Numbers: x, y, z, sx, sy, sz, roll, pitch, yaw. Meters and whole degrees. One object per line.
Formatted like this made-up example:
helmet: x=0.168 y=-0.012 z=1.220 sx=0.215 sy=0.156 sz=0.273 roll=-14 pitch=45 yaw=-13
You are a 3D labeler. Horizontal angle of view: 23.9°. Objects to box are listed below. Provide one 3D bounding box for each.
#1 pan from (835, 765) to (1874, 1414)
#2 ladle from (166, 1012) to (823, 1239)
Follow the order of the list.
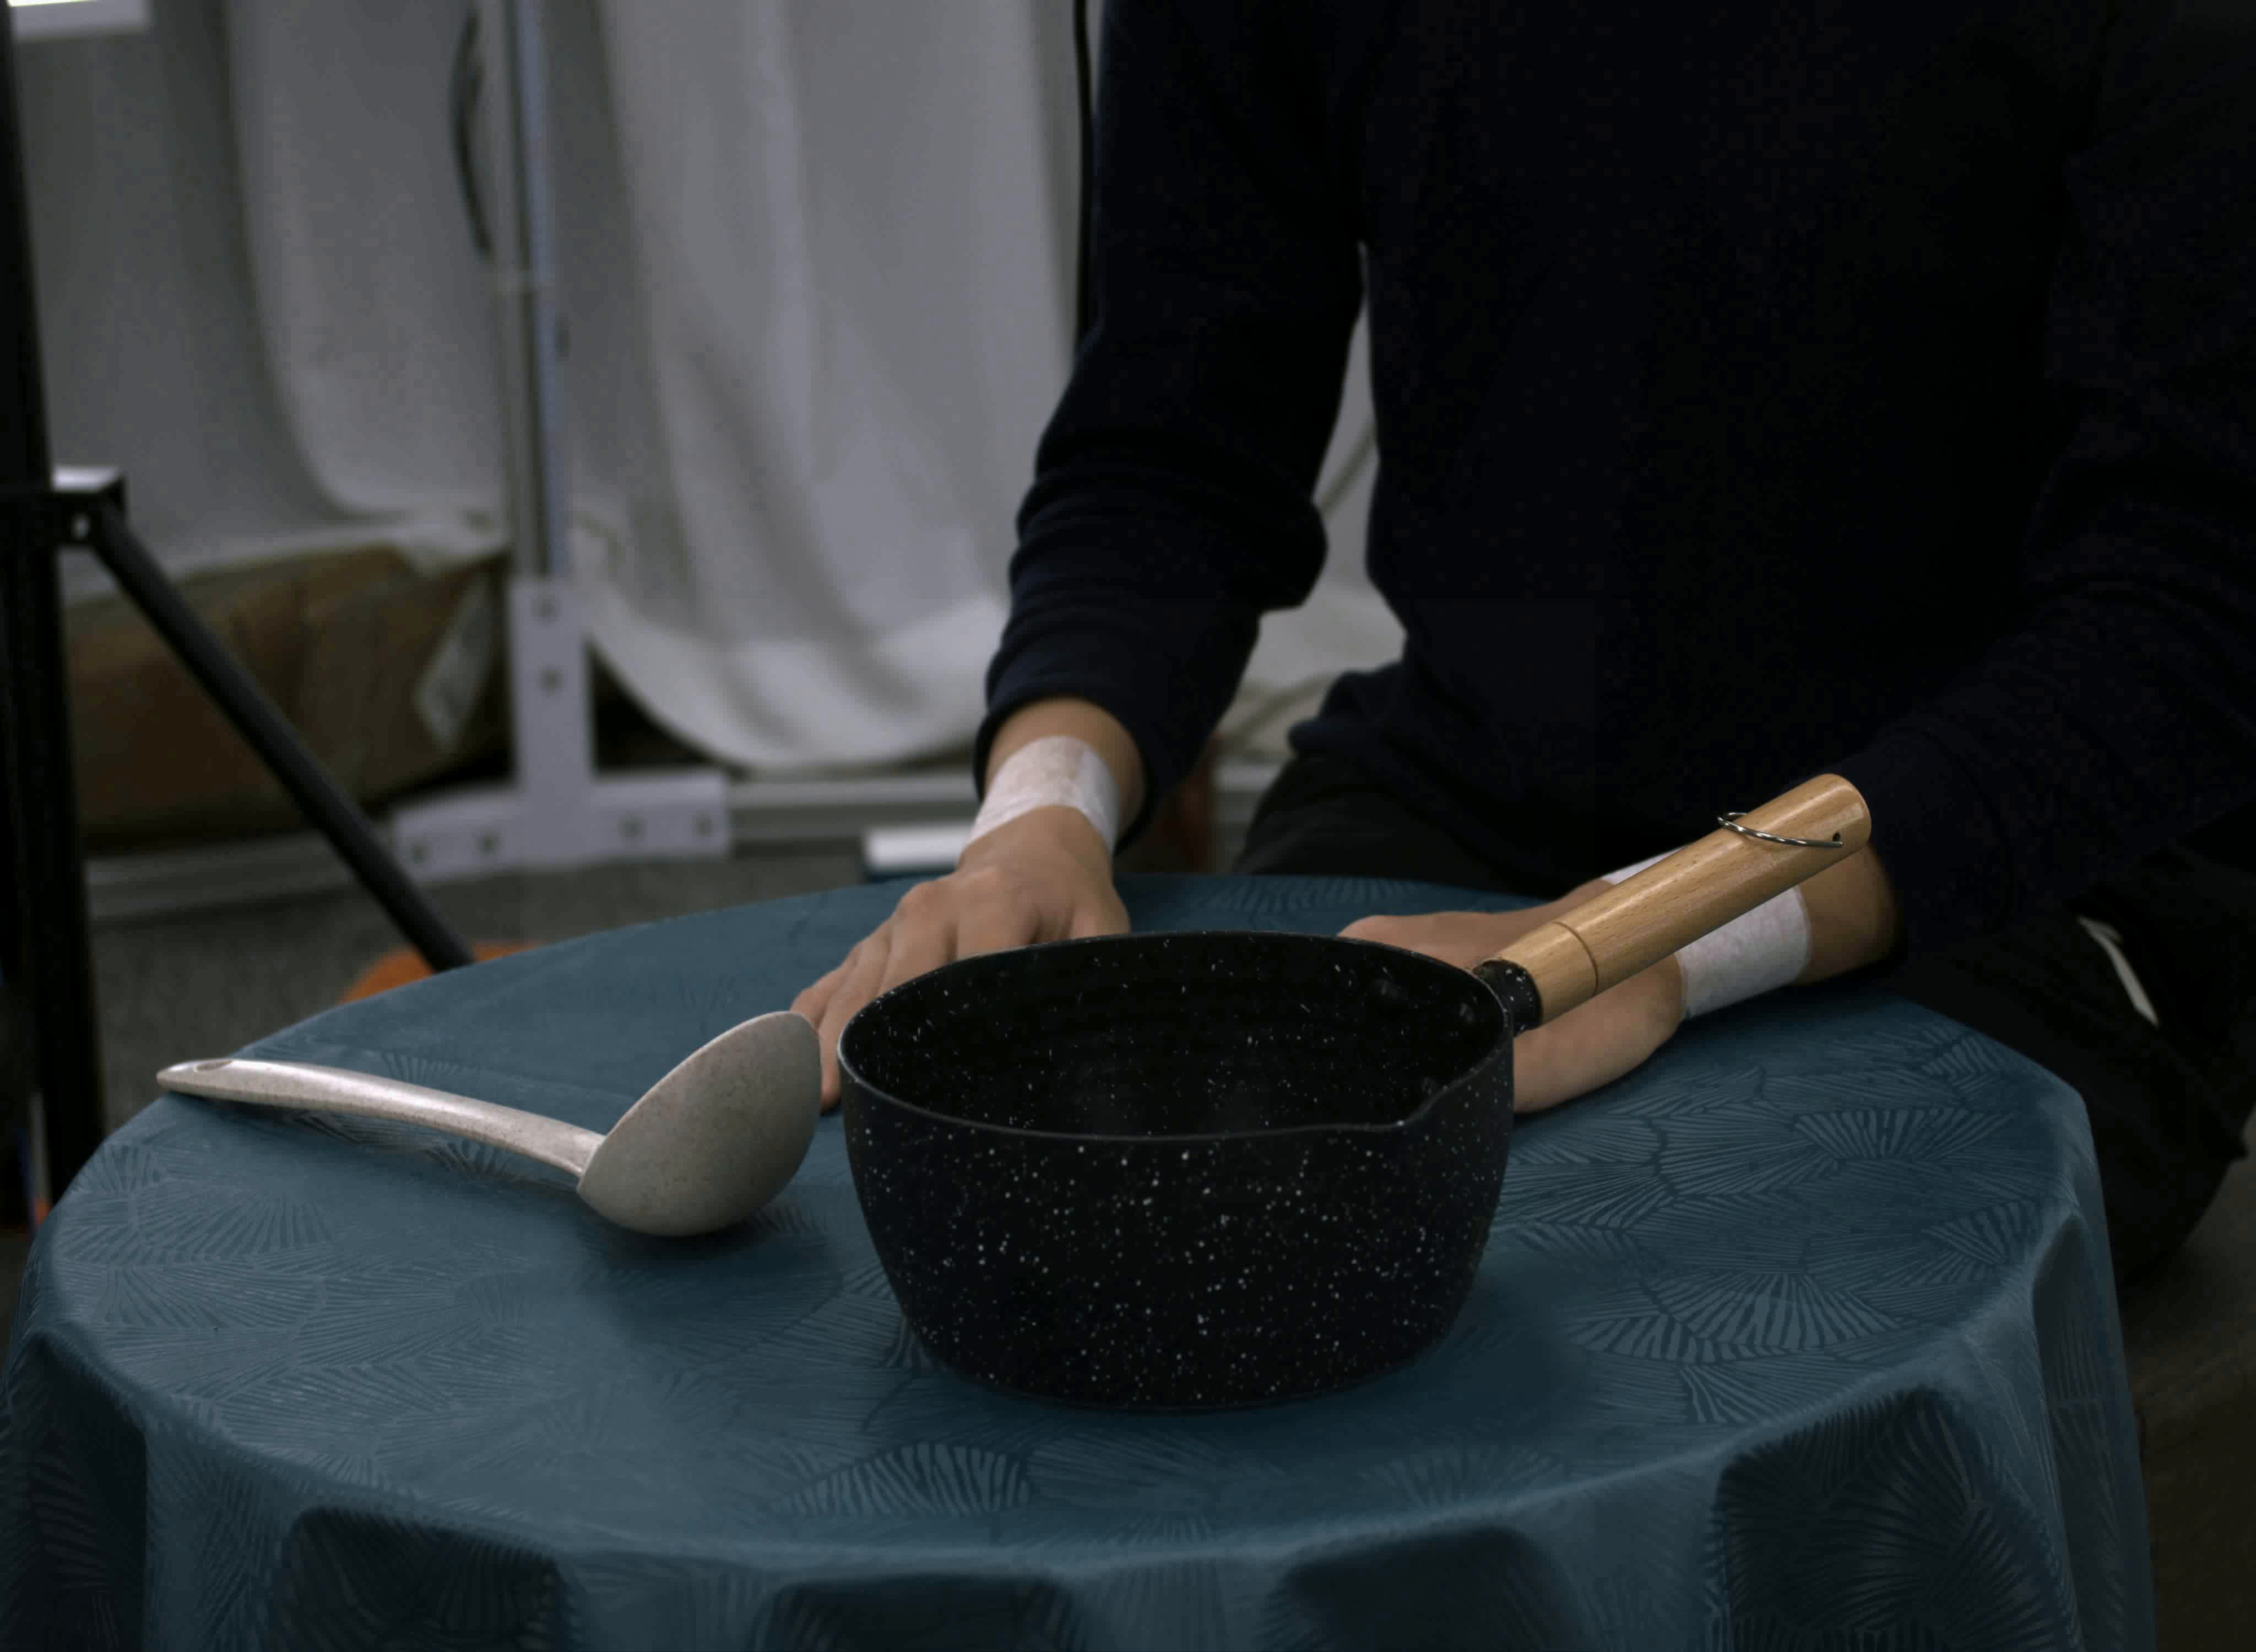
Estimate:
pan: x=0.077 y=0.068 z=1.487 sx=0.335 sy=0.108 sz=0.212 roll=-15 pitch=19 yaw=-33
ladle: x=-0.204 y=0.069 z=1.608 sx=0.281 sy=0.069 sz=0.087 roll=11 pitch=27 yaw=41
